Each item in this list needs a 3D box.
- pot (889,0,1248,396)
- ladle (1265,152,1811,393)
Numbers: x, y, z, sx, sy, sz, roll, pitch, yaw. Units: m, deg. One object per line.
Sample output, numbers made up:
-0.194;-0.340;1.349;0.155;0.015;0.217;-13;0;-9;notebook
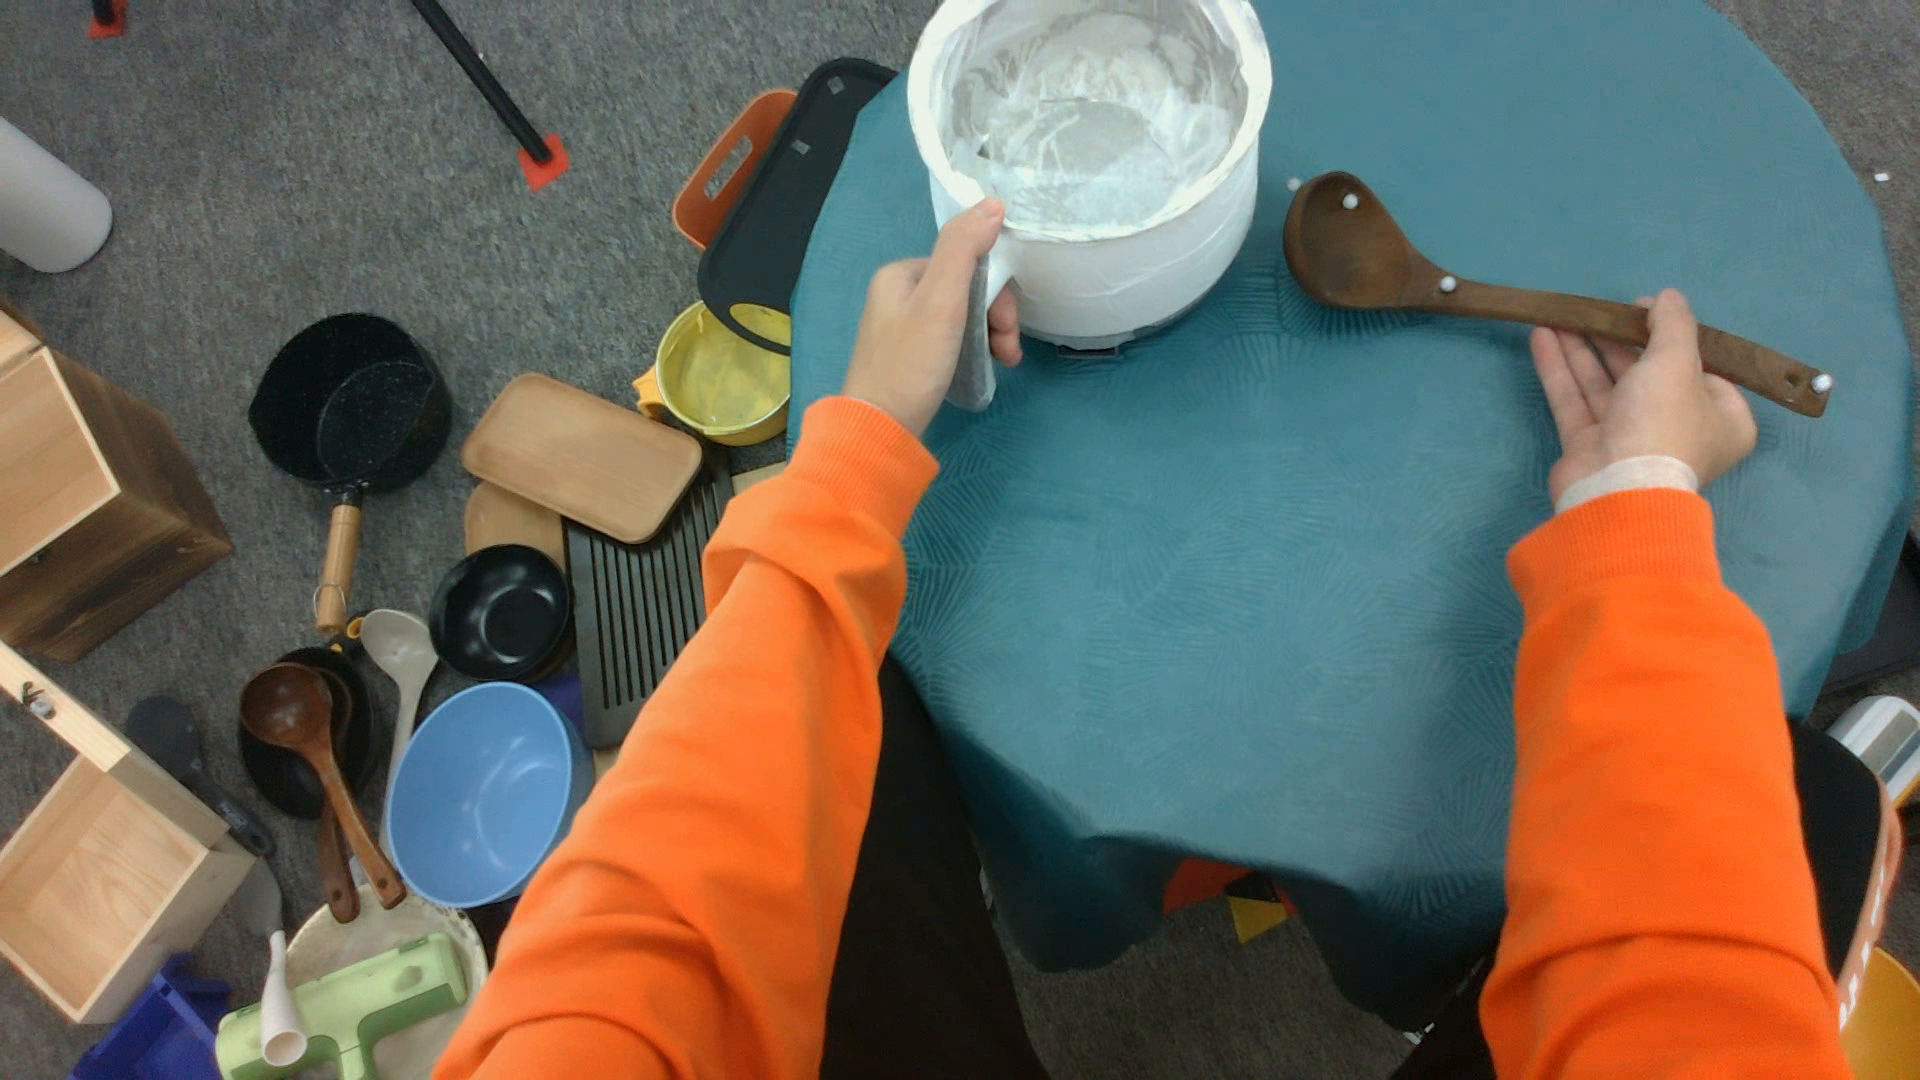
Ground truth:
0.045;-0.189;0.729;0.178;0.136;0.234;29;78;16;pot
0.290;-0.137;0.702;0.274;0.071;0.076;20;70;24;ladle
